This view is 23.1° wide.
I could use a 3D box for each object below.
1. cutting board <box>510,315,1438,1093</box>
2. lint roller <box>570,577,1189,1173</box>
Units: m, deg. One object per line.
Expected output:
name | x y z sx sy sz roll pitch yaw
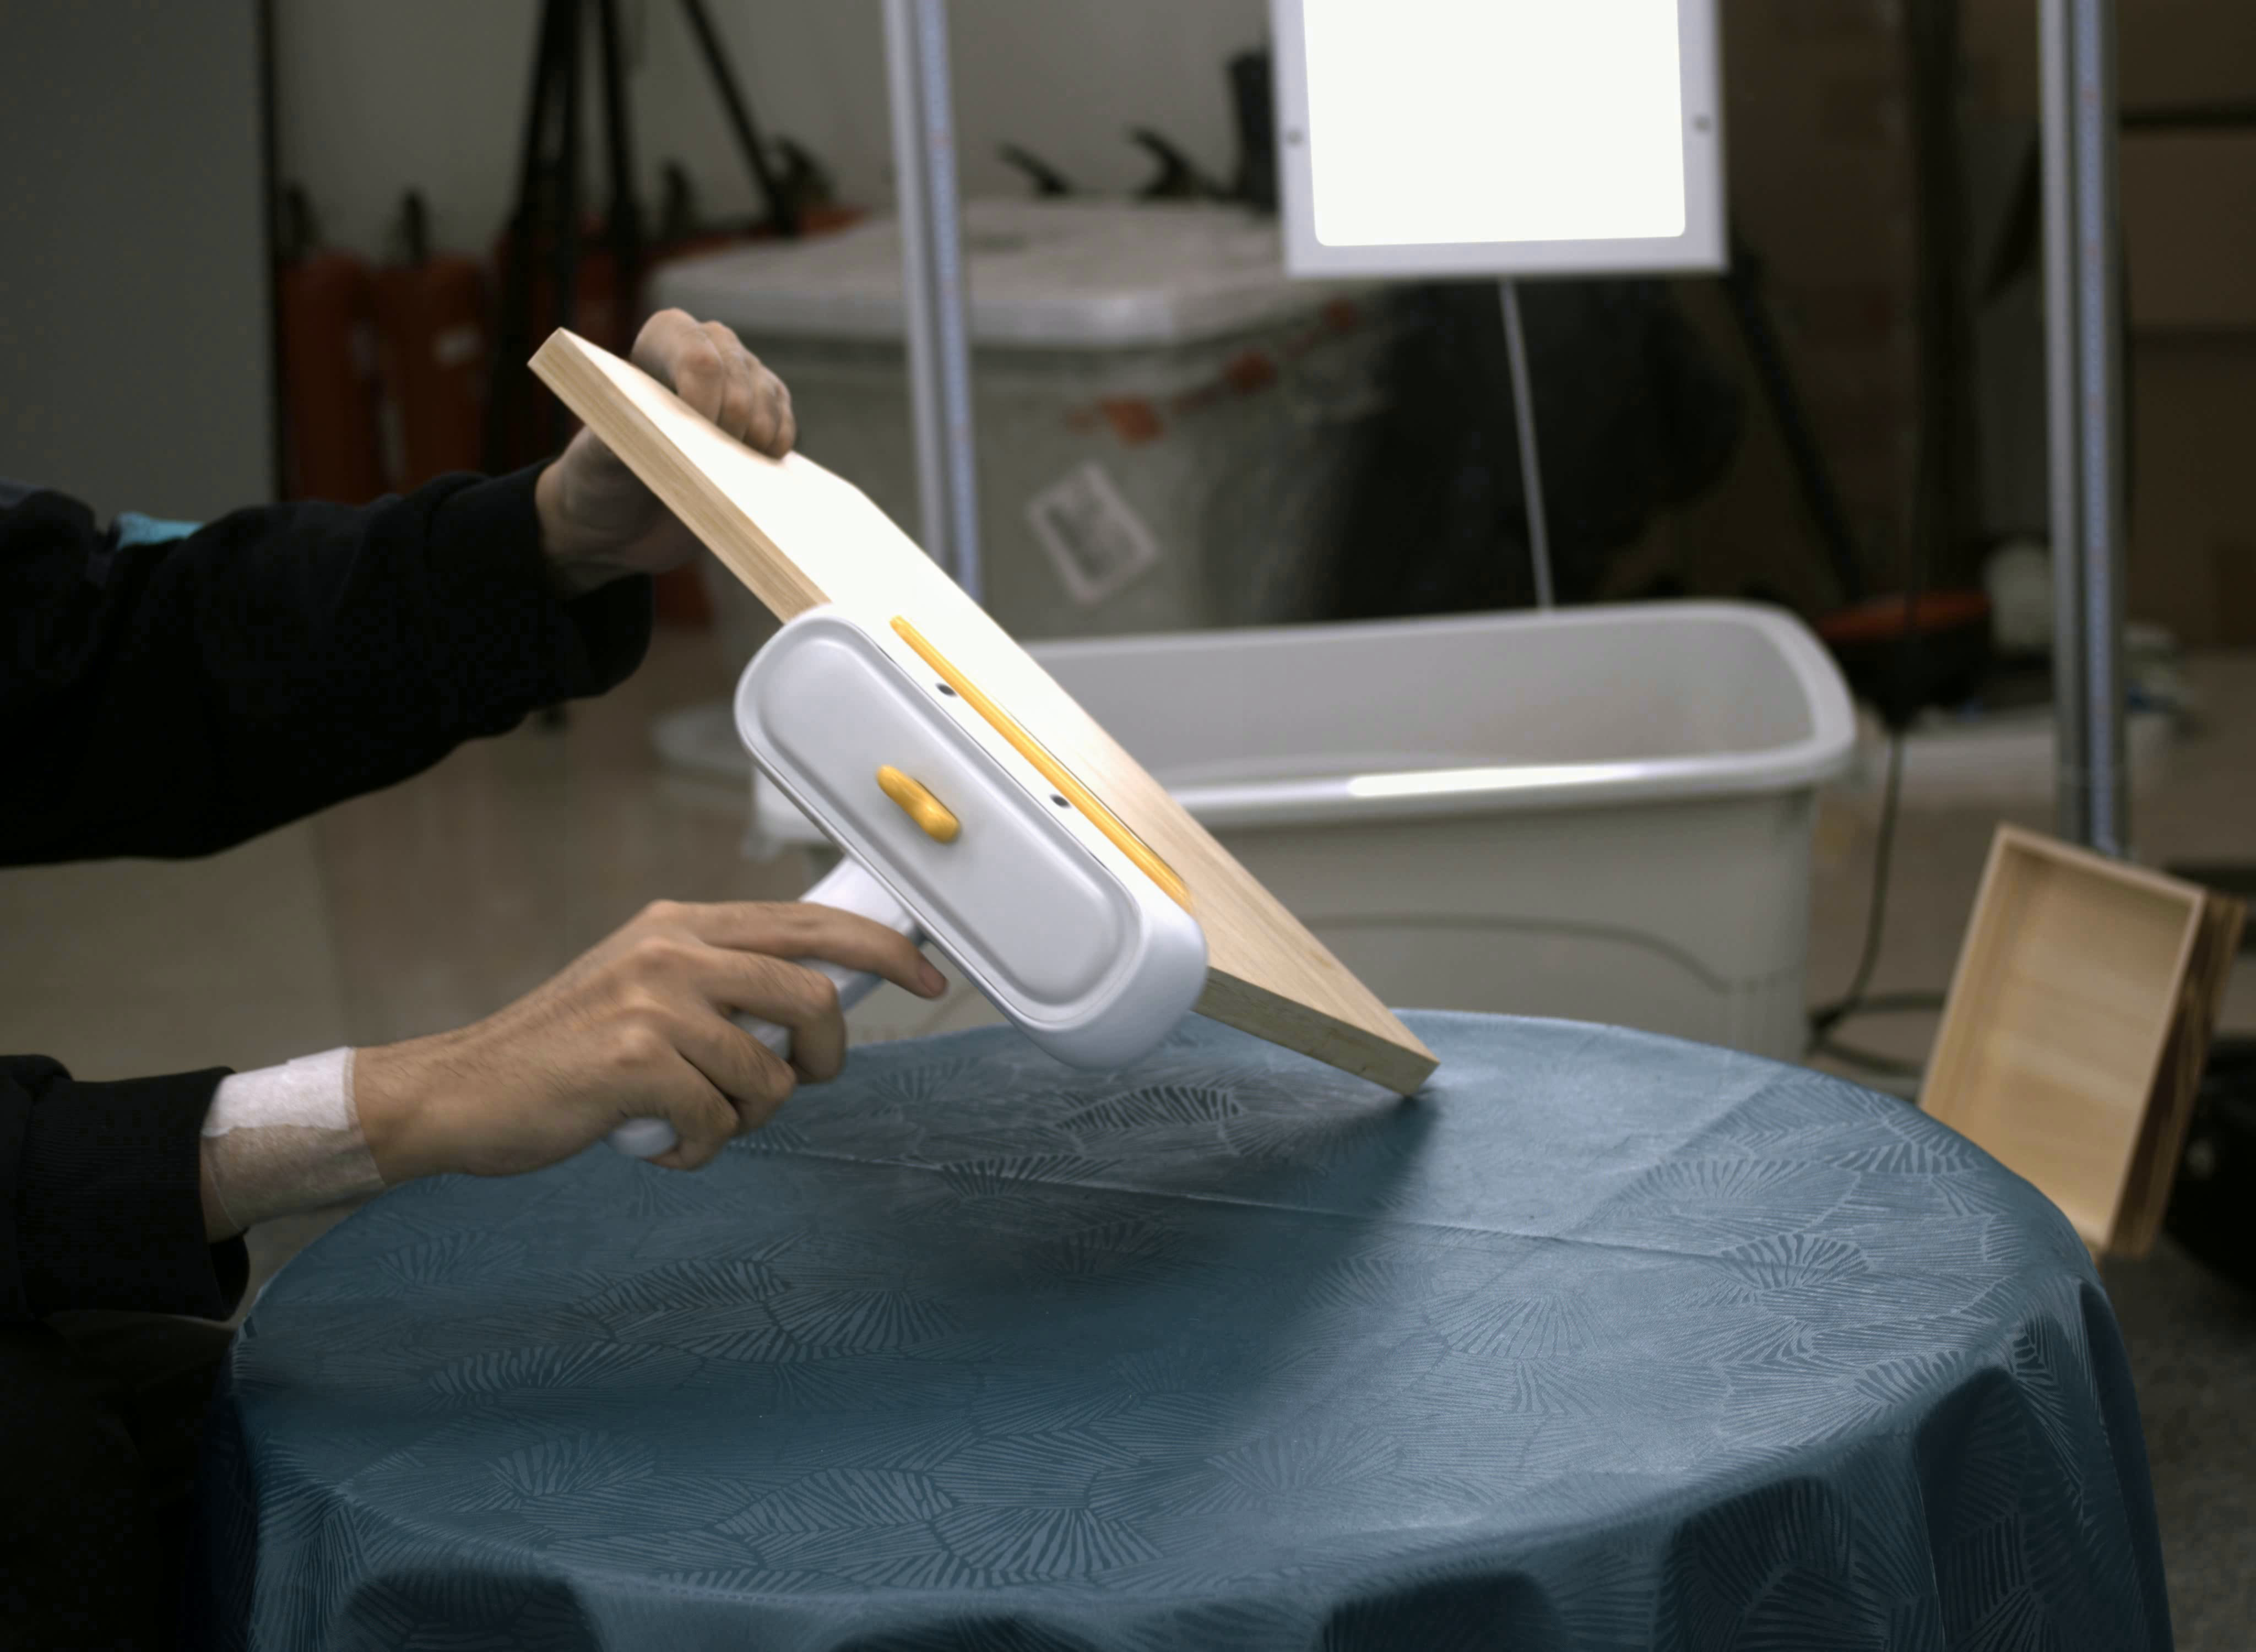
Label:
cutting board | -0.053 -0.041 1.949 0.352 0.024 0.246 44 8 25
lint roller | -0.101 0.036 1.772 0.195 0.192 0.073 41 -2 21
